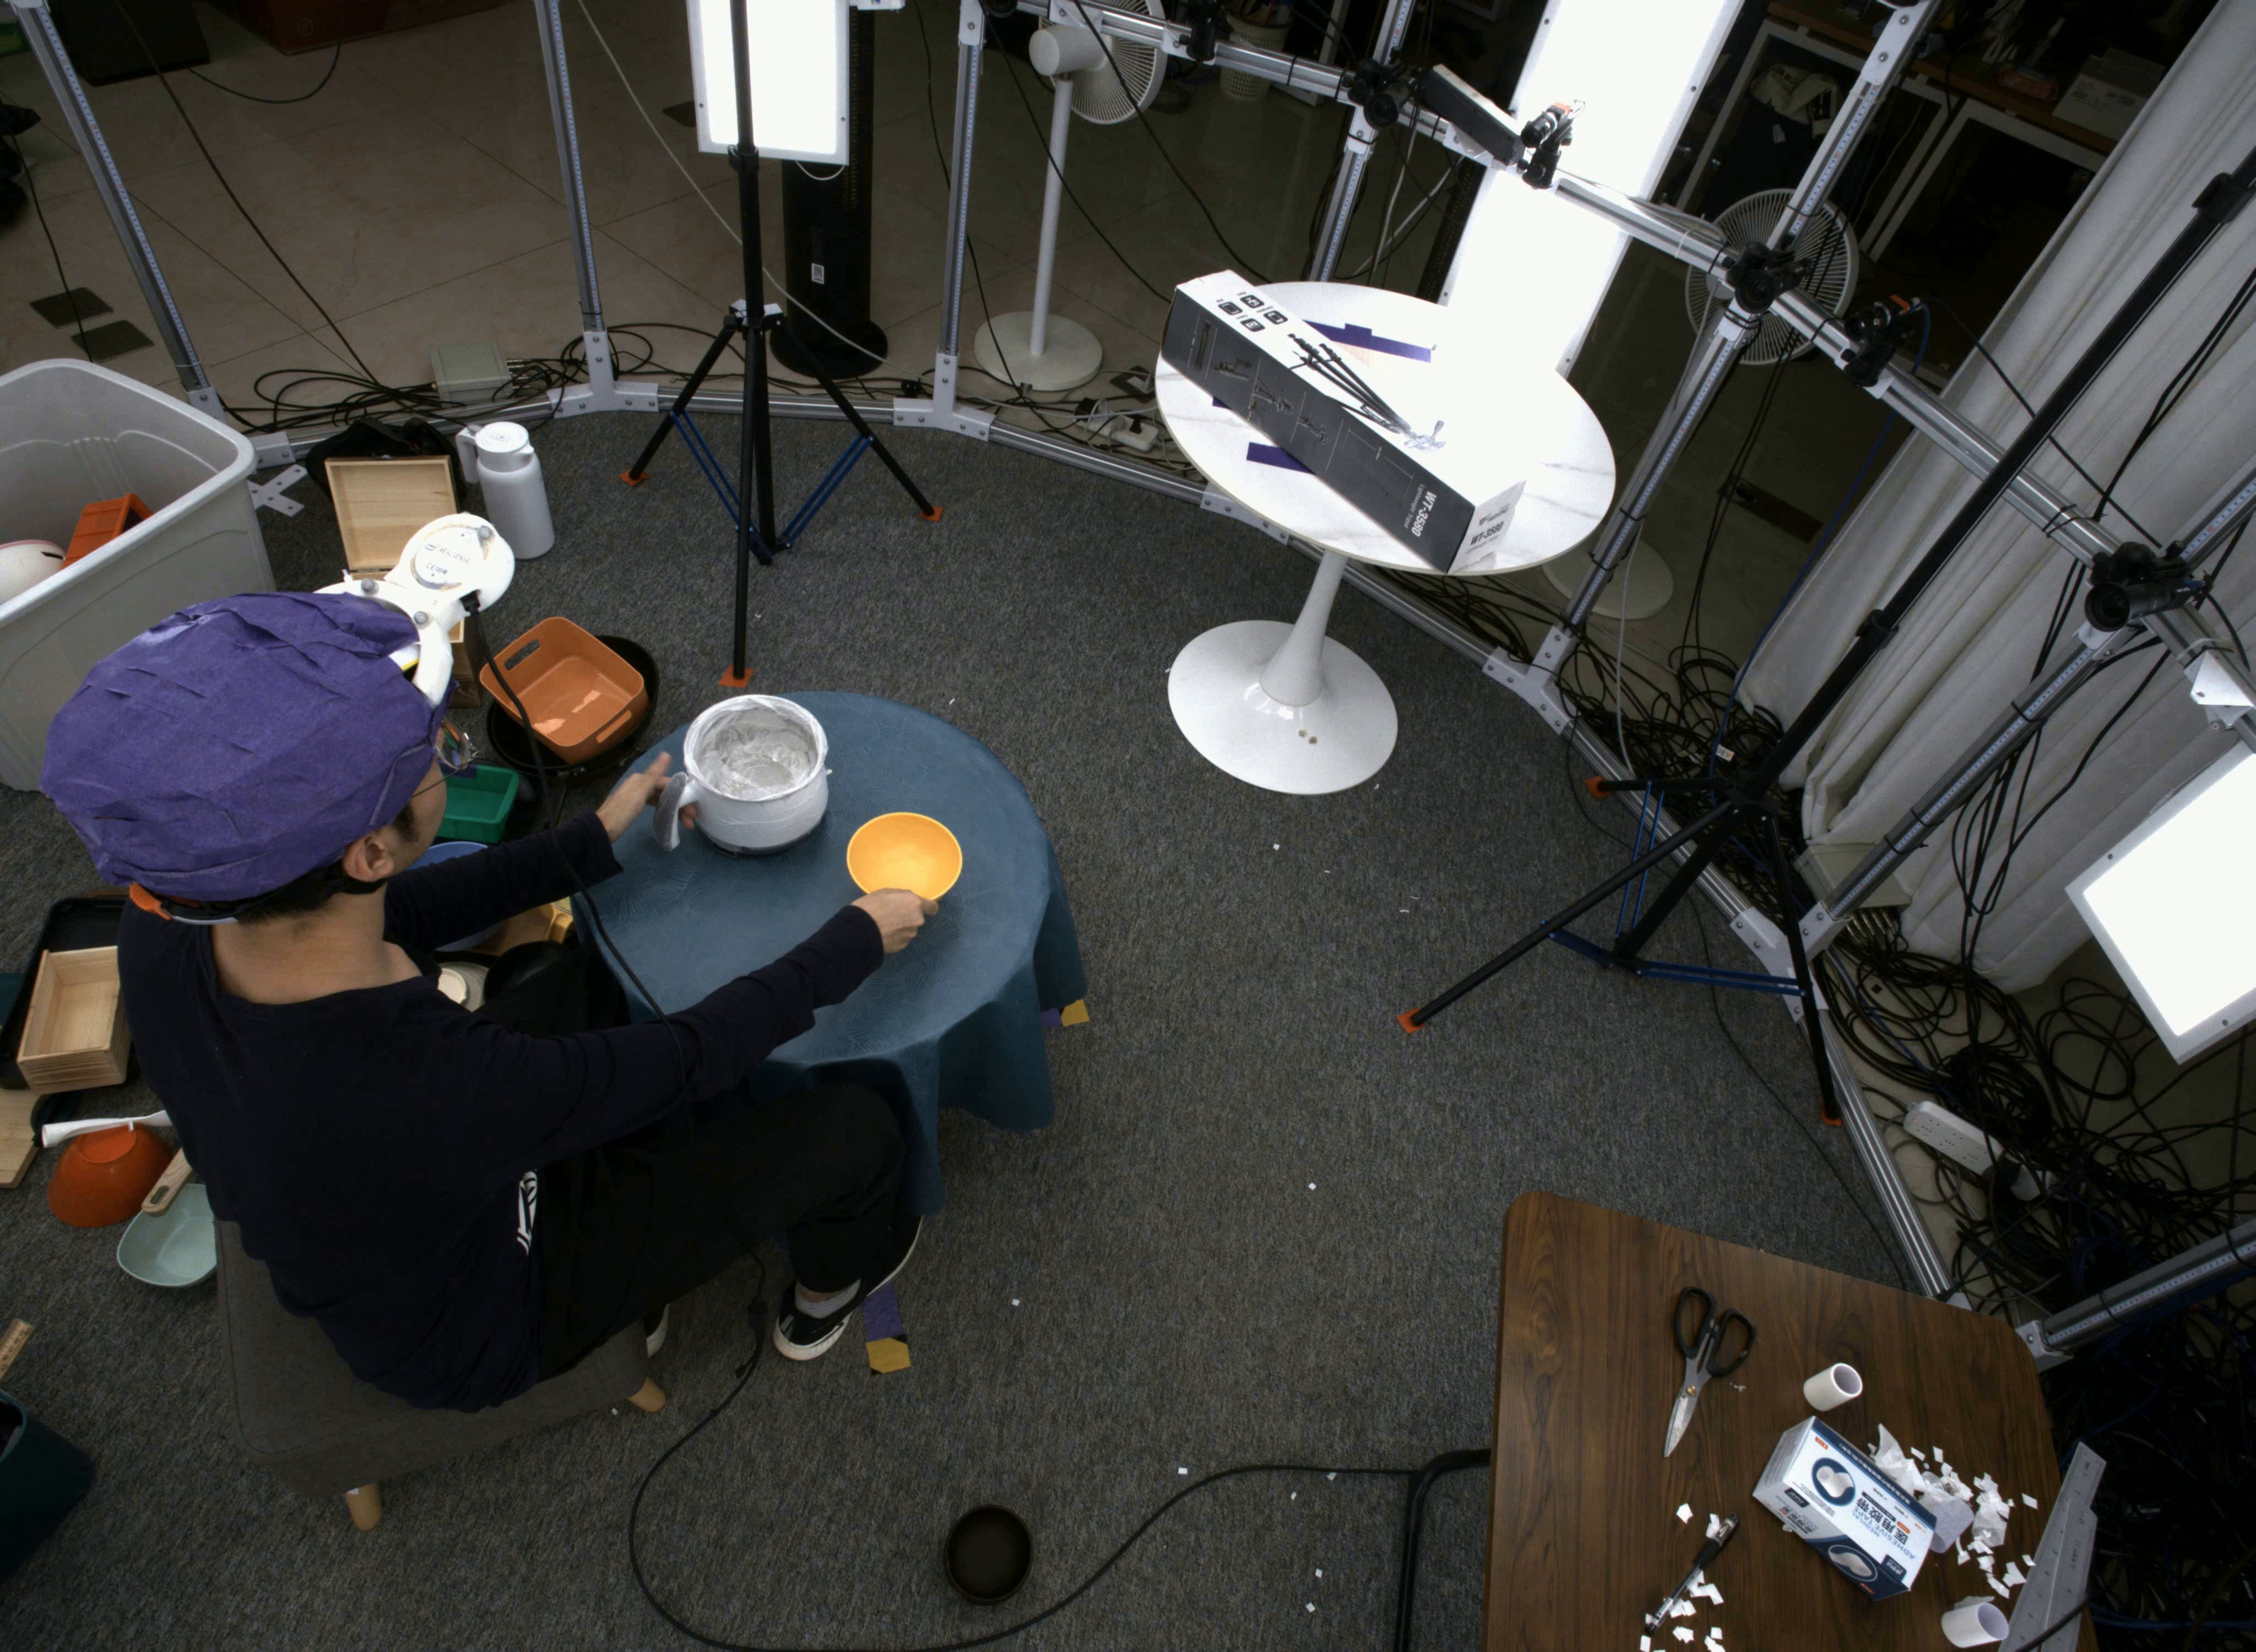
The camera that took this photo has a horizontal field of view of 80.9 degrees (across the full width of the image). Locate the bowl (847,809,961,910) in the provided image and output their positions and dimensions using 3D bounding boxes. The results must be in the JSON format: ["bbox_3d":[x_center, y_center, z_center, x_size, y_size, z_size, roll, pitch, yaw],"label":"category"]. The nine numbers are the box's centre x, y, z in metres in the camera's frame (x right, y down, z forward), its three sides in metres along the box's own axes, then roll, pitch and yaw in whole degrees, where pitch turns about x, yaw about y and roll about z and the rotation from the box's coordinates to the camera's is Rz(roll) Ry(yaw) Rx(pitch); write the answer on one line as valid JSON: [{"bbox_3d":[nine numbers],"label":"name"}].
[{"bbox_3d":[-0.286,0.053,1.665,0.145,0.061,0.143,7,54,-8],"label":"bowl"}]

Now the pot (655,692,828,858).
[{"bbox_3d":[-0.501,-0.053,1.665,0.234,0.140,0.174,-29,61,-31],"label":"pot"}]
